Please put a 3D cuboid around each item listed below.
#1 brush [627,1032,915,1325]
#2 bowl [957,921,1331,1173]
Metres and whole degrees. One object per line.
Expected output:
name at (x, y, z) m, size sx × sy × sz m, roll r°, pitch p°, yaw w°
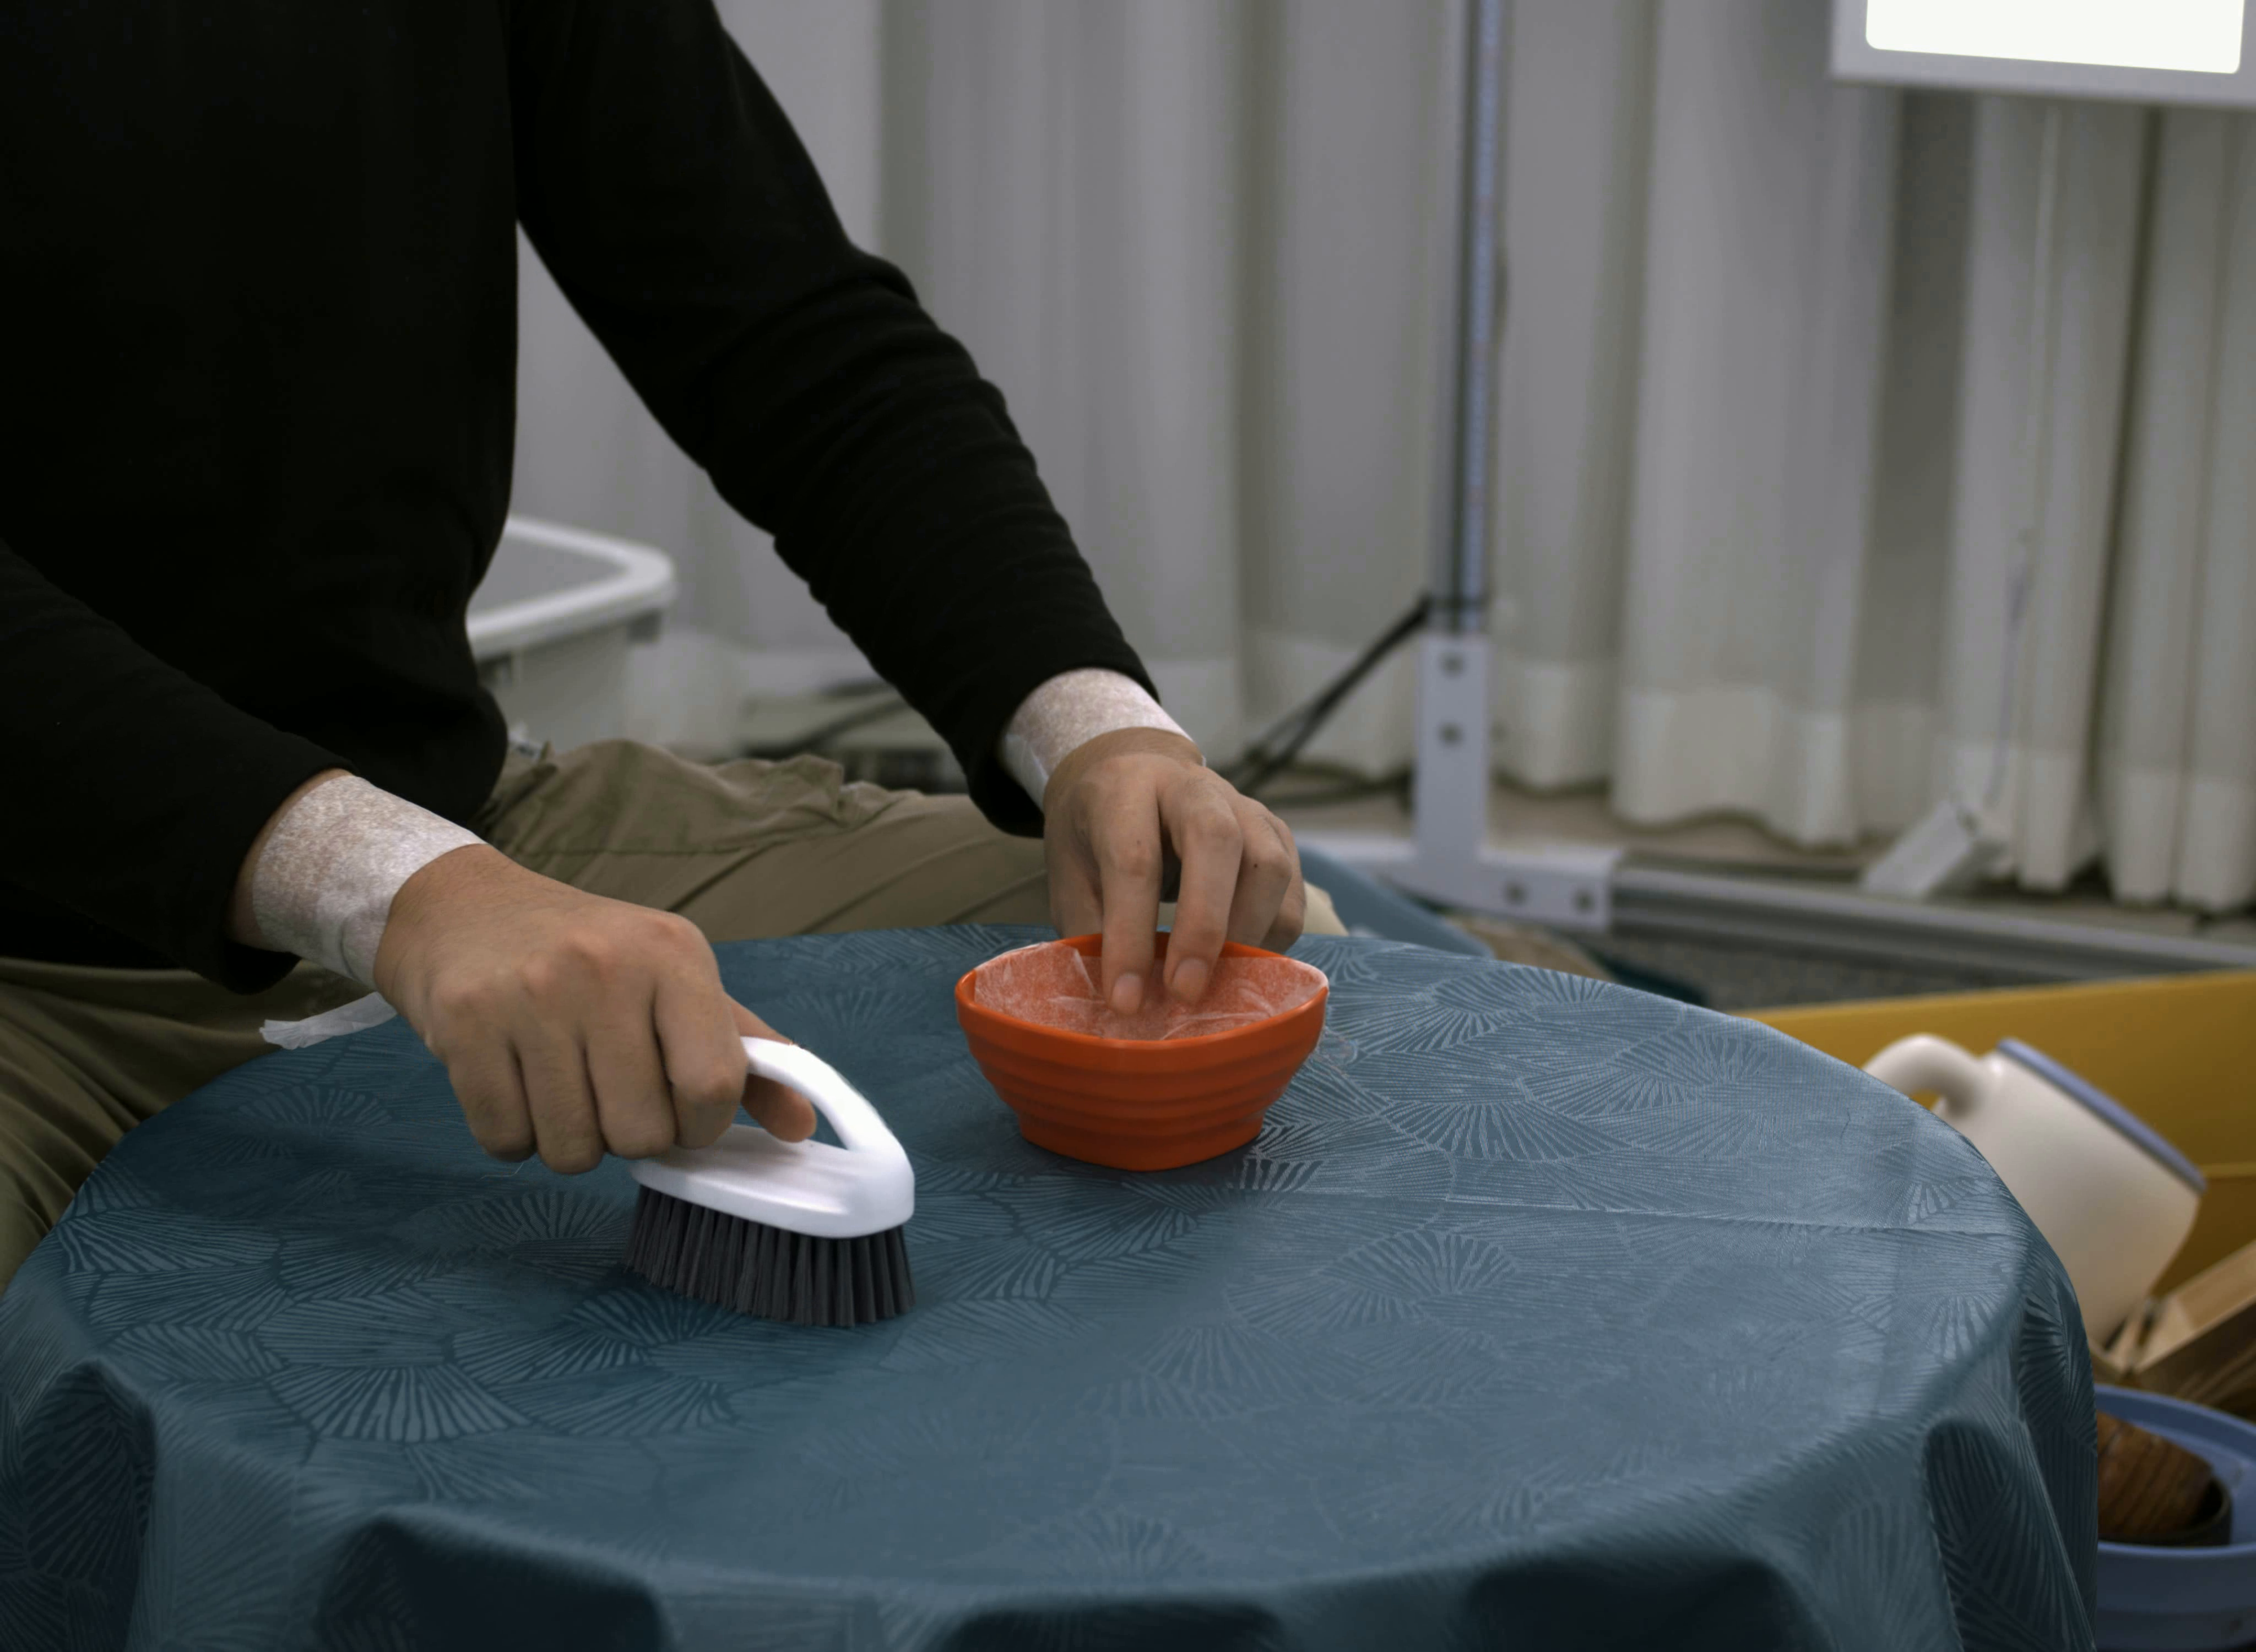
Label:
brush at (-0.106, 0.097, 1.533) m, size 0.098 × 0.073 × 0.050 m, roll 14°, pitch 22°, yaw 40°
bowl at (0.004, 0.072, 1.666) m, size 0.118 × 0.052 × 0.118 m, roll 2°, pitch 18°, yaw 0°
